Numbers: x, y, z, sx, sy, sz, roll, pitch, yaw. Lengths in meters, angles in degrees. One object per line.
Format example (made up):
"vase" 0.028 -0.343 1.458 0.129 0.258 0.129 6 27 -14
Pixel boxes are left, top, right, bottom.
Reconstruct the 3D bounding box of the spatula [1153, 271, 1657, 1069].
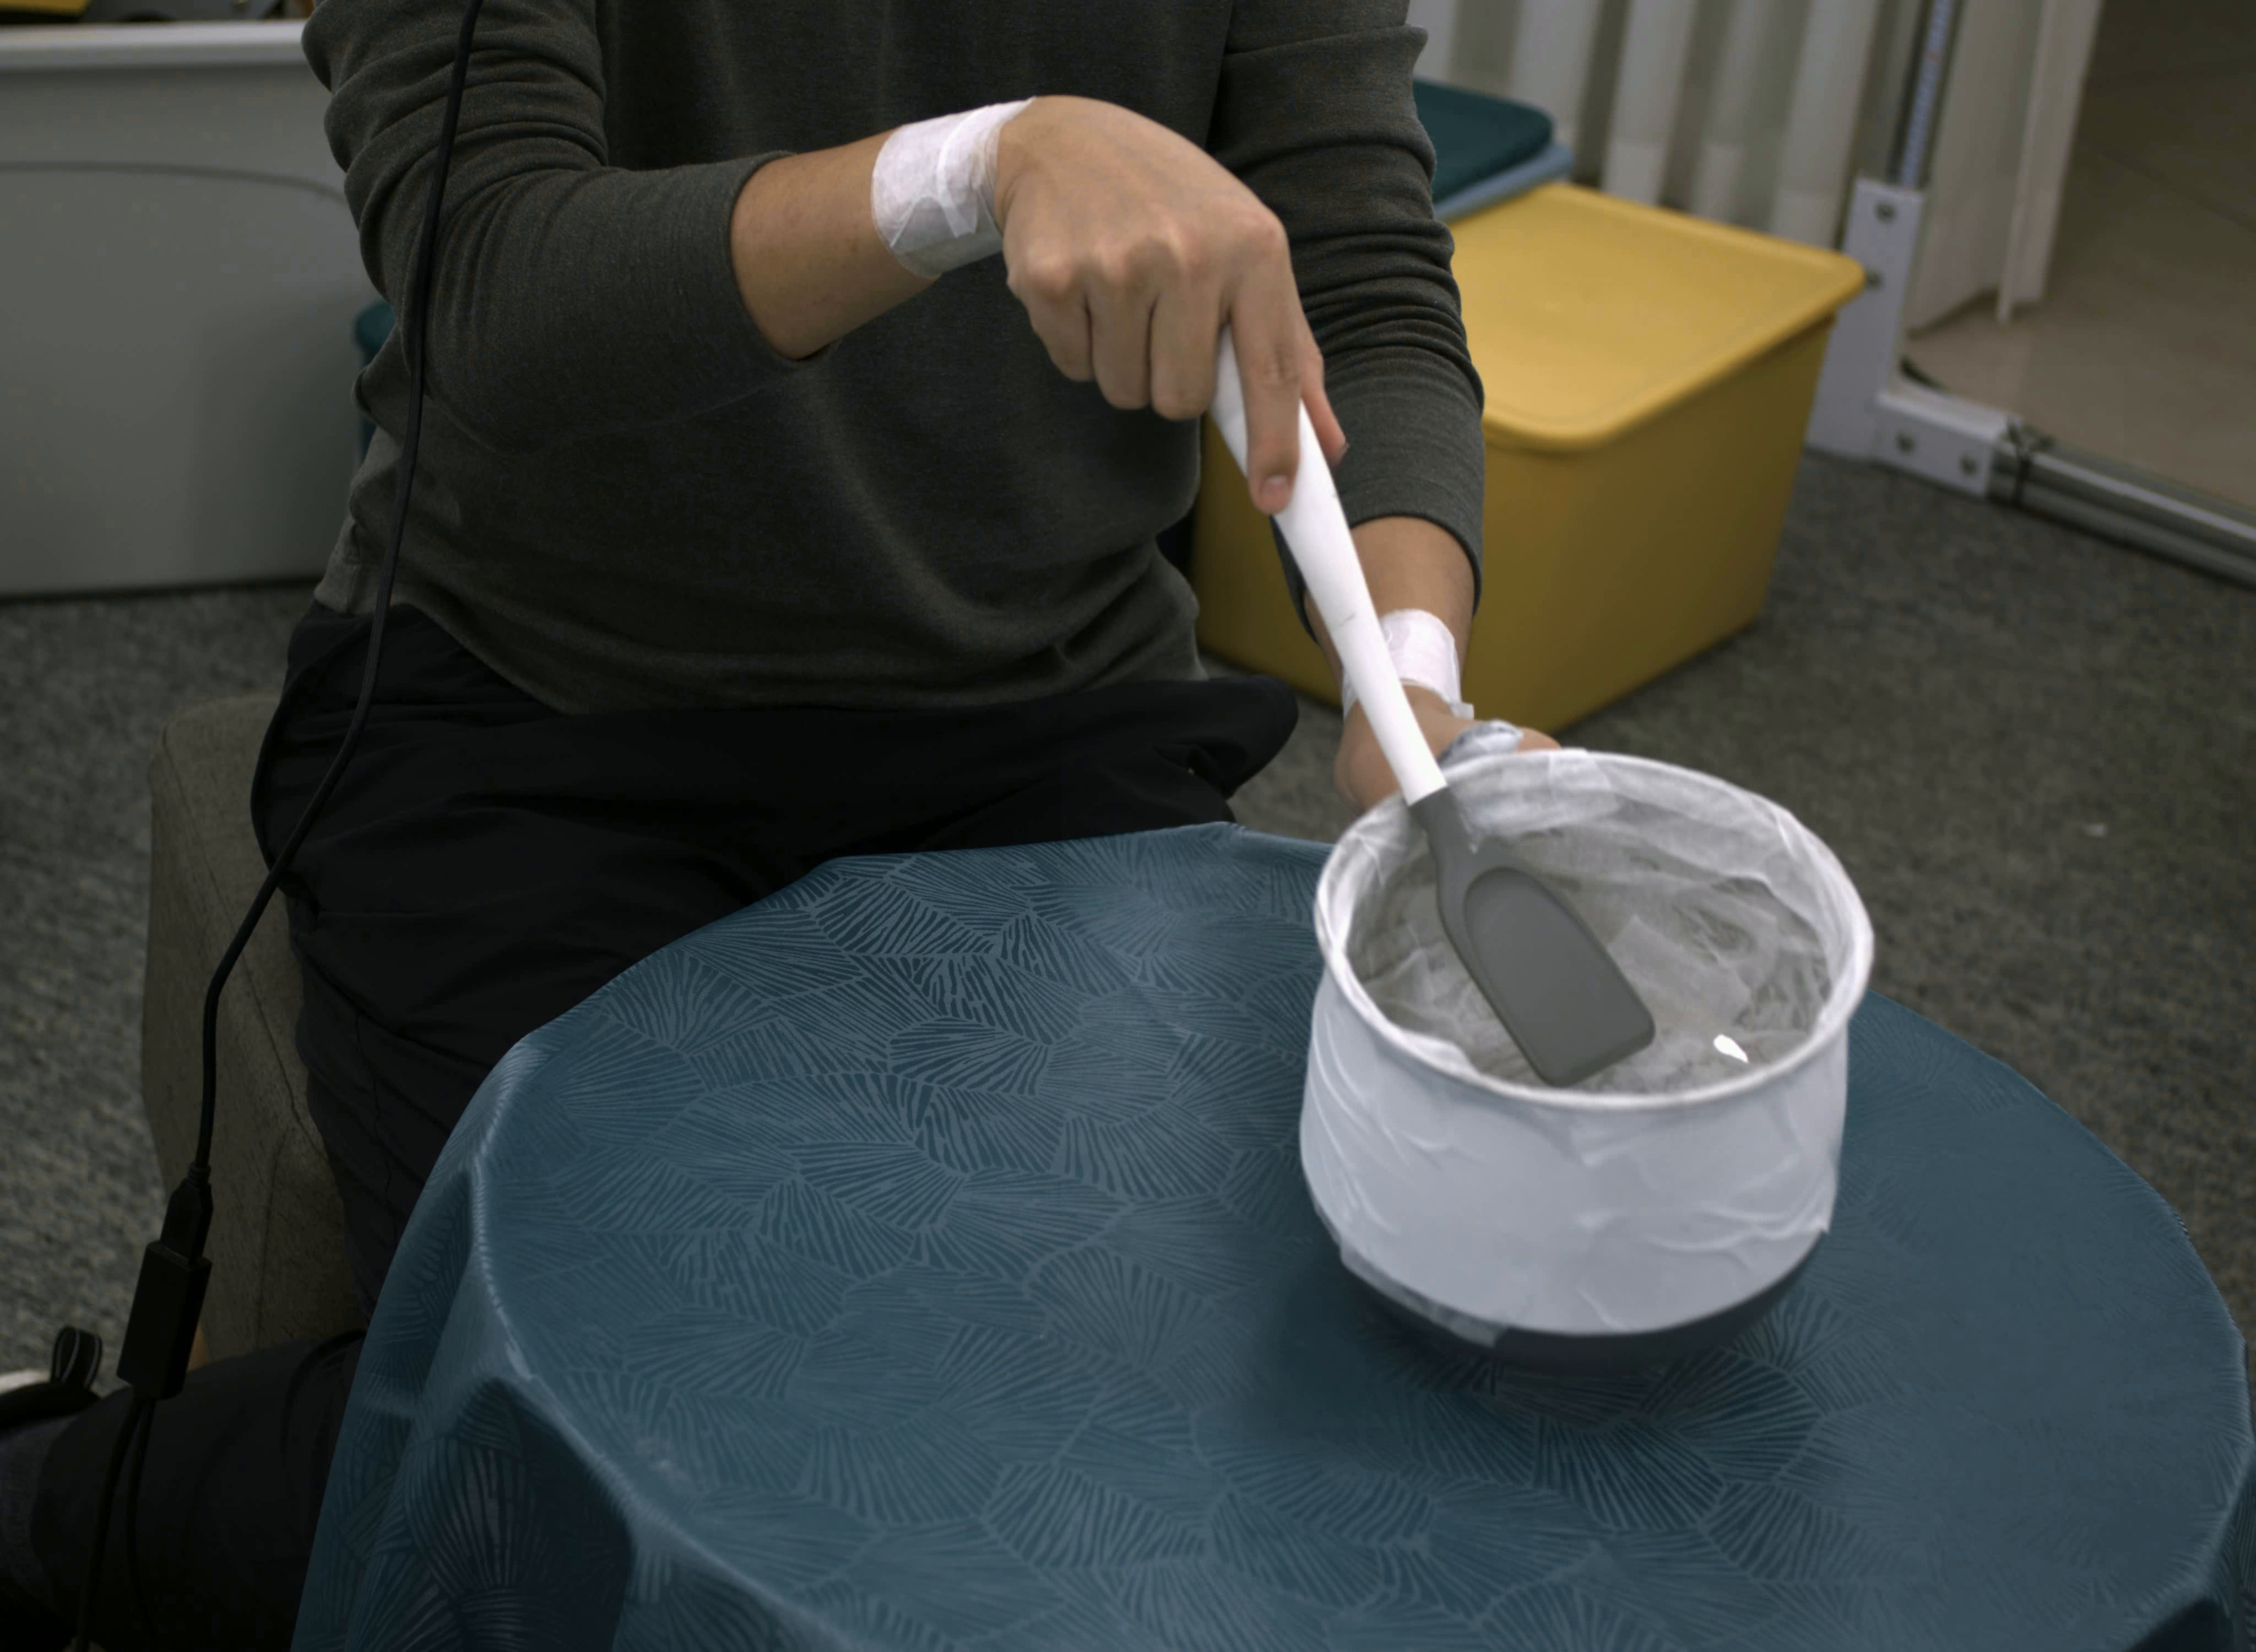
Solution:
"spatula" 0.086 -0.045 1.720 0.058 0.288 0.032 -24 -4 -37

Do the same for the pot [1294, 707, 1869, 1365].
"pot" 0.136 0.059 1.737 0.178 0.136 0.236 -8 39 -13
